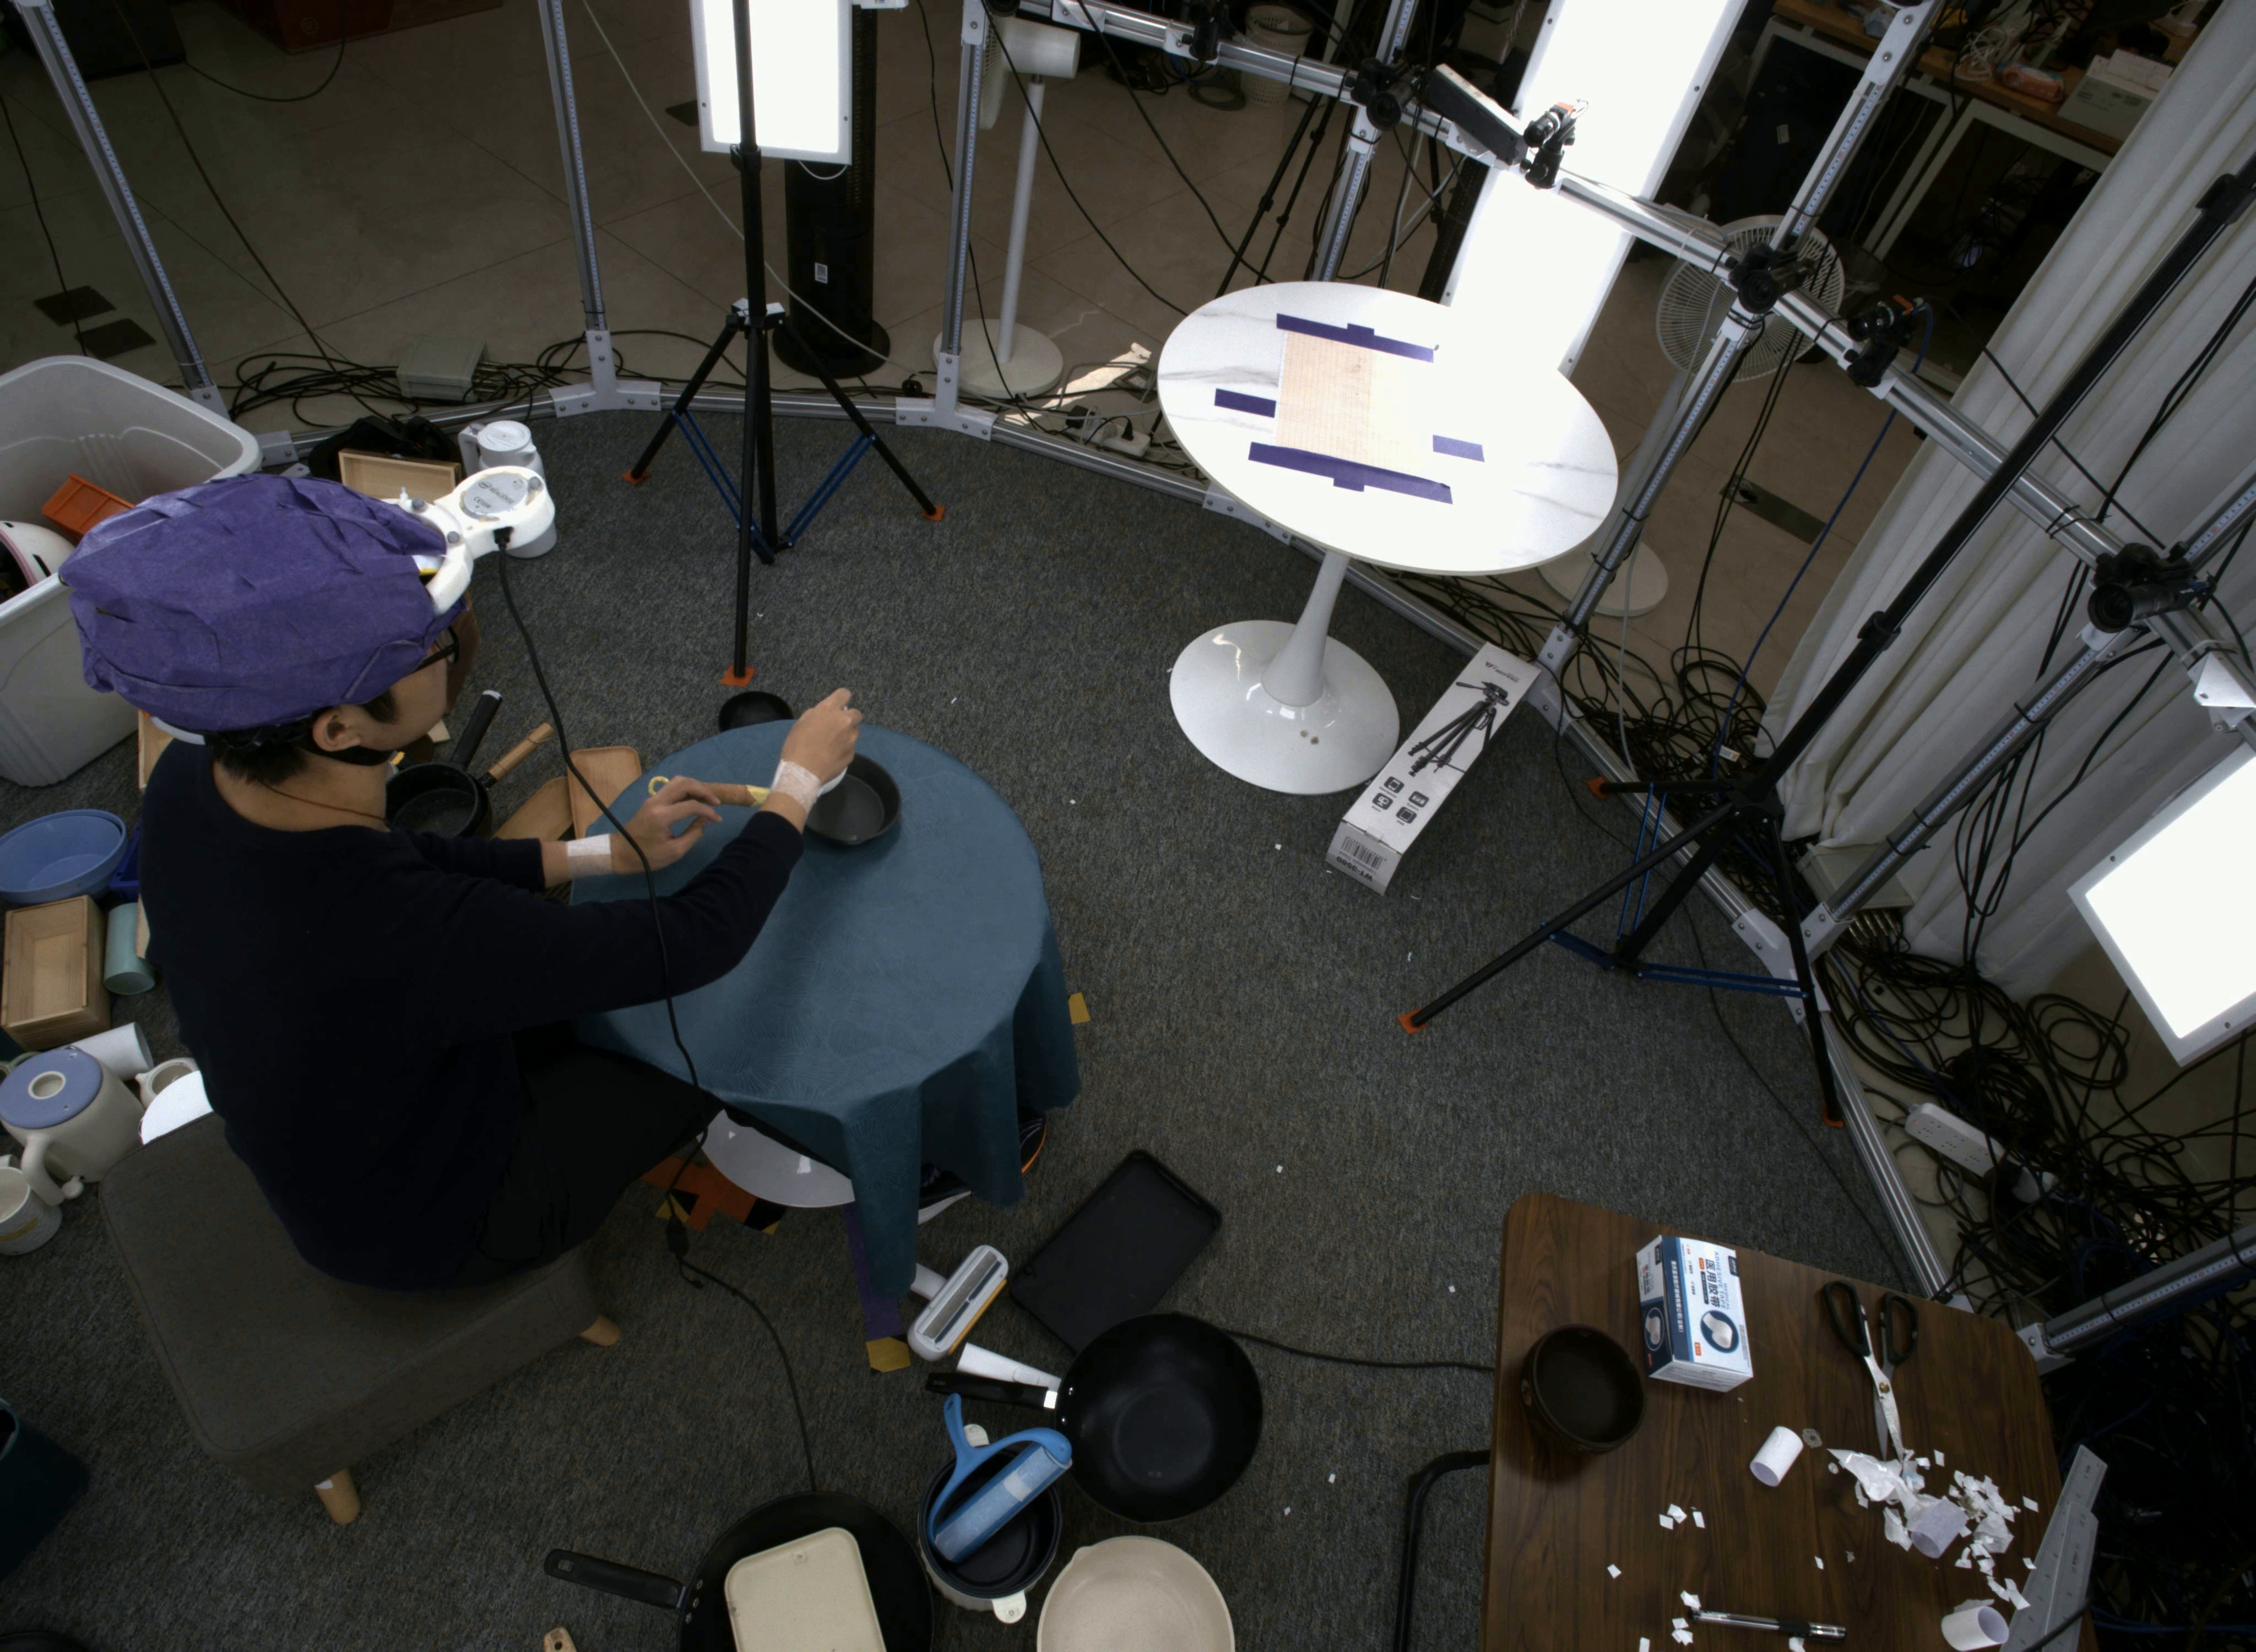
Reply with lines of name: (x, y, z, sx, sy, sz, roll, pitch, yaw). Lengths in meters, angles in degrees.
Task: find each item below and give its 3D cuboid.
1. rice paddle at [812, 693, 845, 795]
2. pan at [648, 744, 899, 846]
rice paddle: (-0.381, -0.101, 1.649, 0.029, 0.207, 0.068, 33, 61, 5)
pan: (-0.455, -0.042, 1.668, 0.329, 0.050, 0.165, 2, 53, -30)
